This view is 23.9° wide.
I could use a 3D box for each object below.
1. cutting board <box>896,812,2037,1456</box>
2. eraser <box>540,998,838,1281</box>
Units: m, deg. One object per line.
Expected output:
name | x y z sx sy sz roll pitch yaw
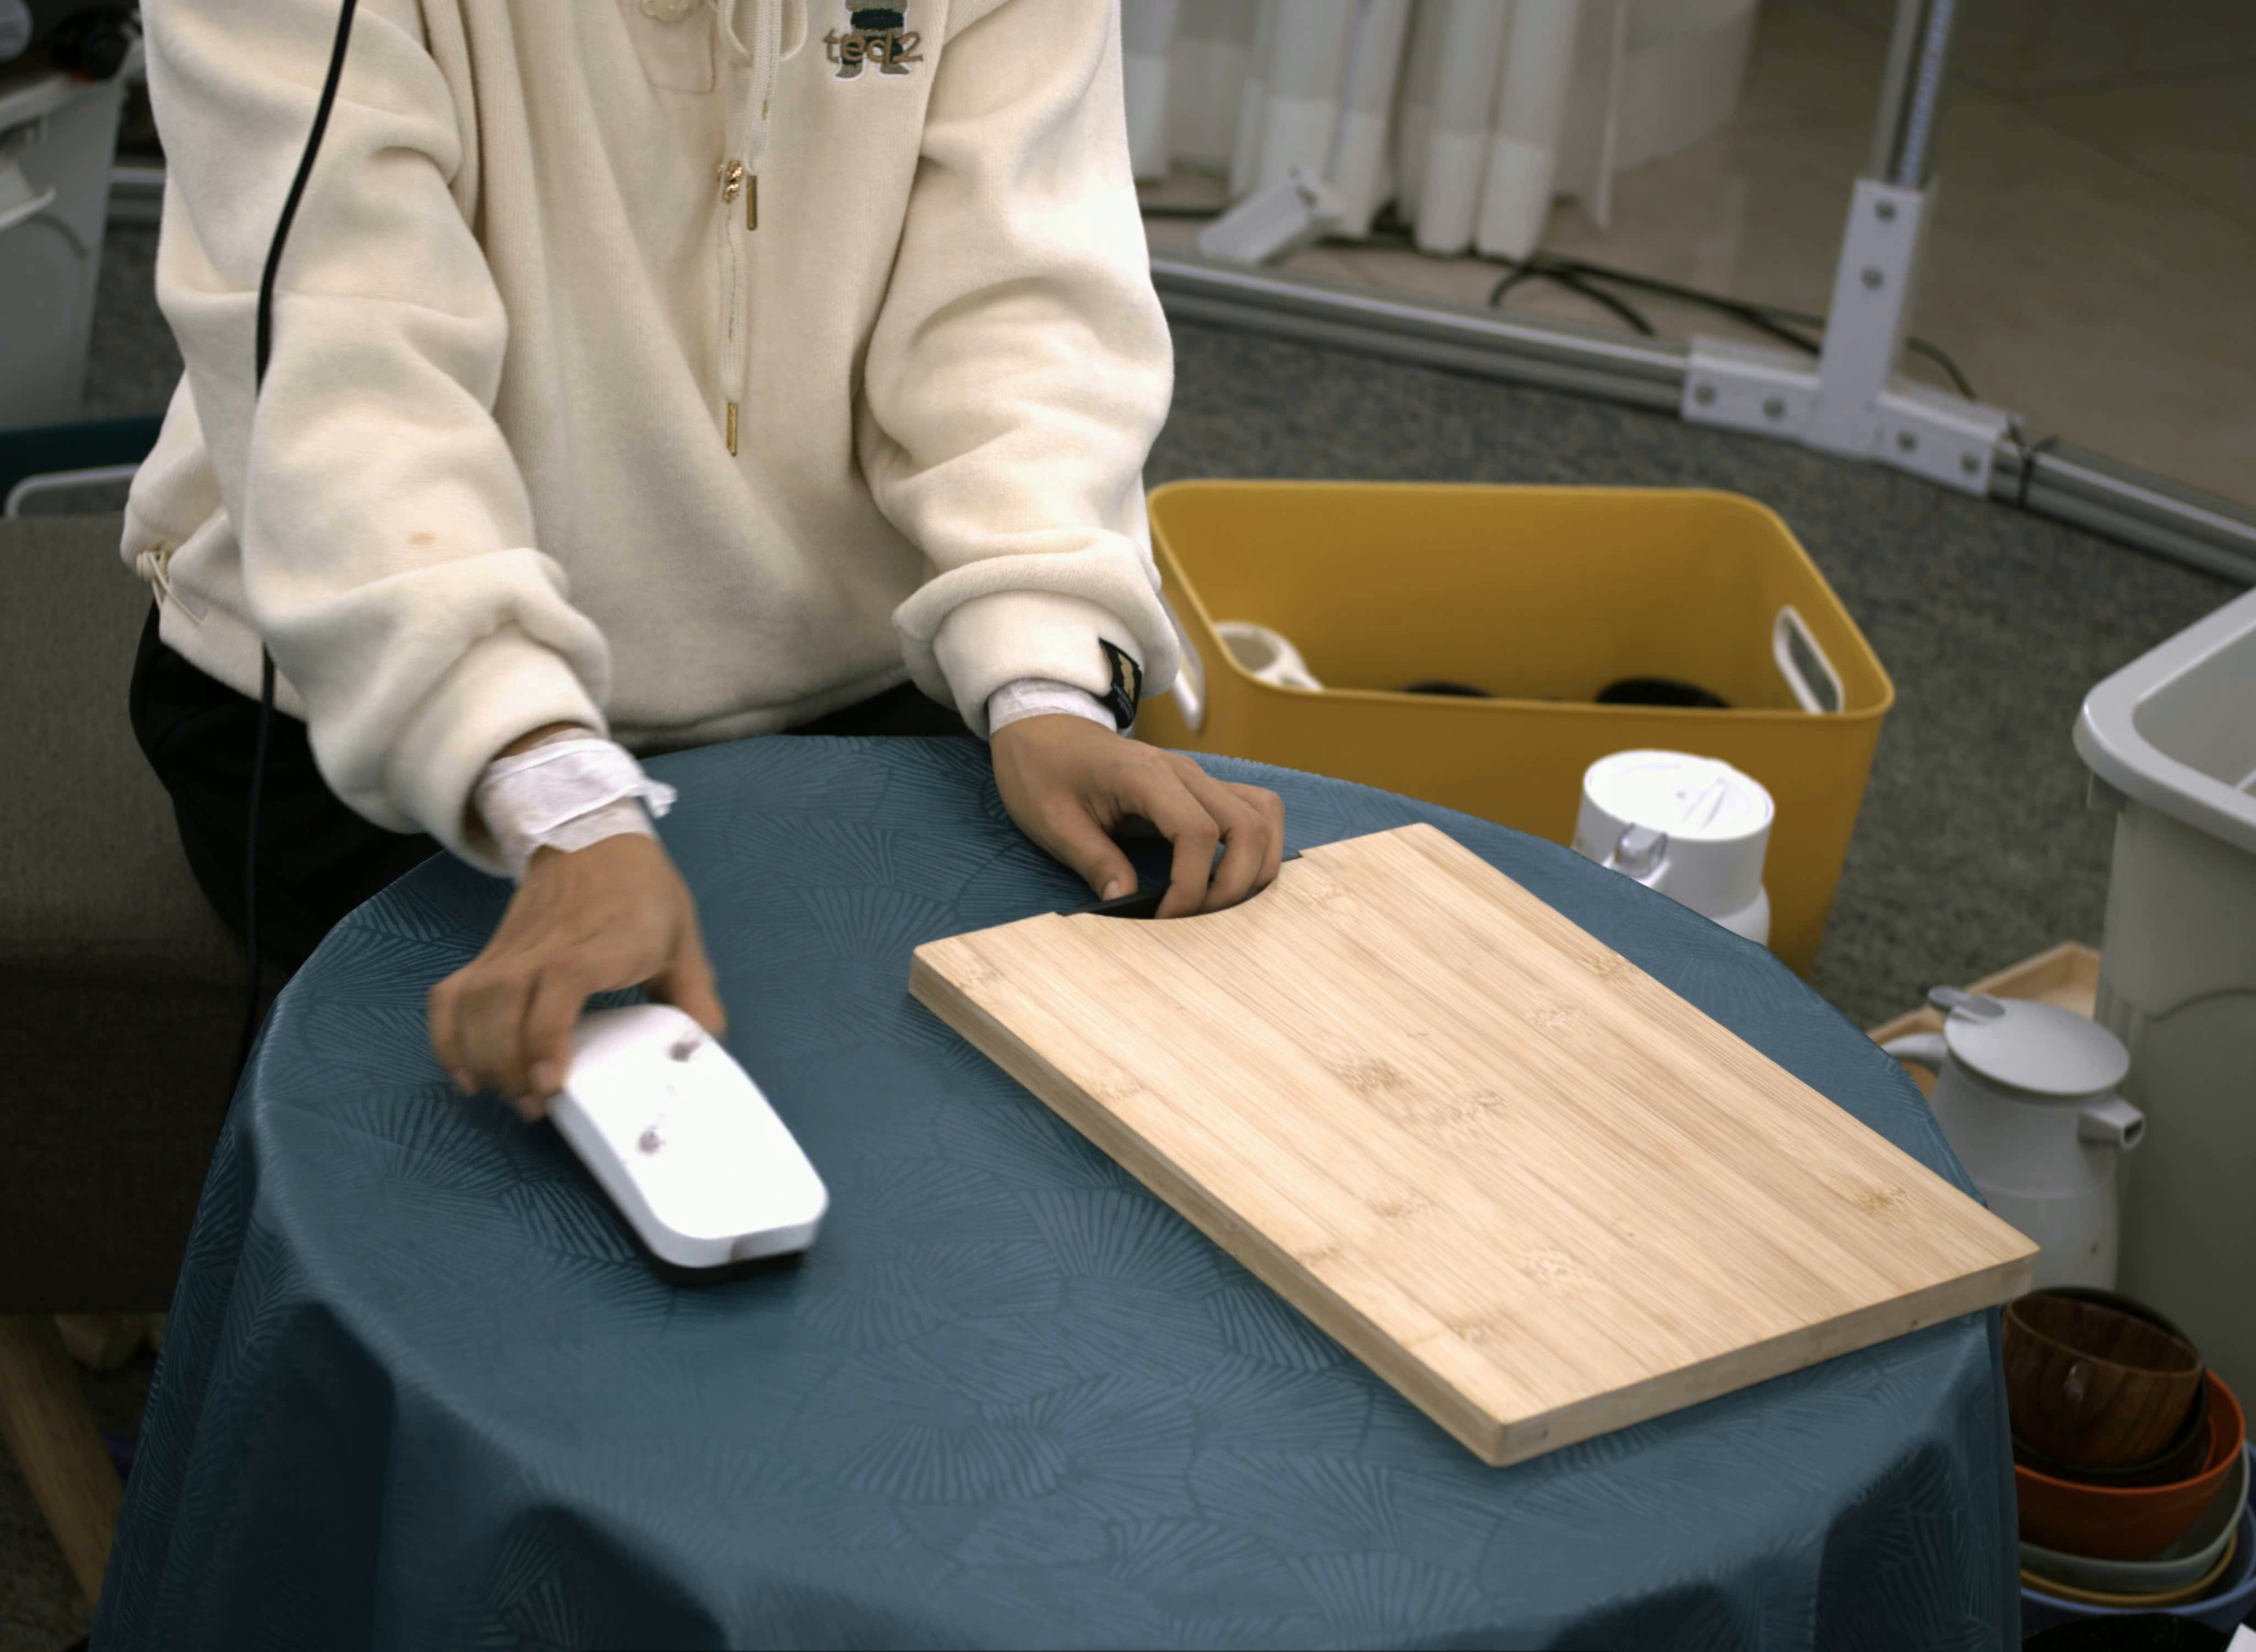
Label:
cutting board | 0.111 0.099 1.858 0.249 0.023 0.352 -14 33 -34
eraser | -0.146 0.100 1.765 0.063 0.034 0.132 -7 35 -29
